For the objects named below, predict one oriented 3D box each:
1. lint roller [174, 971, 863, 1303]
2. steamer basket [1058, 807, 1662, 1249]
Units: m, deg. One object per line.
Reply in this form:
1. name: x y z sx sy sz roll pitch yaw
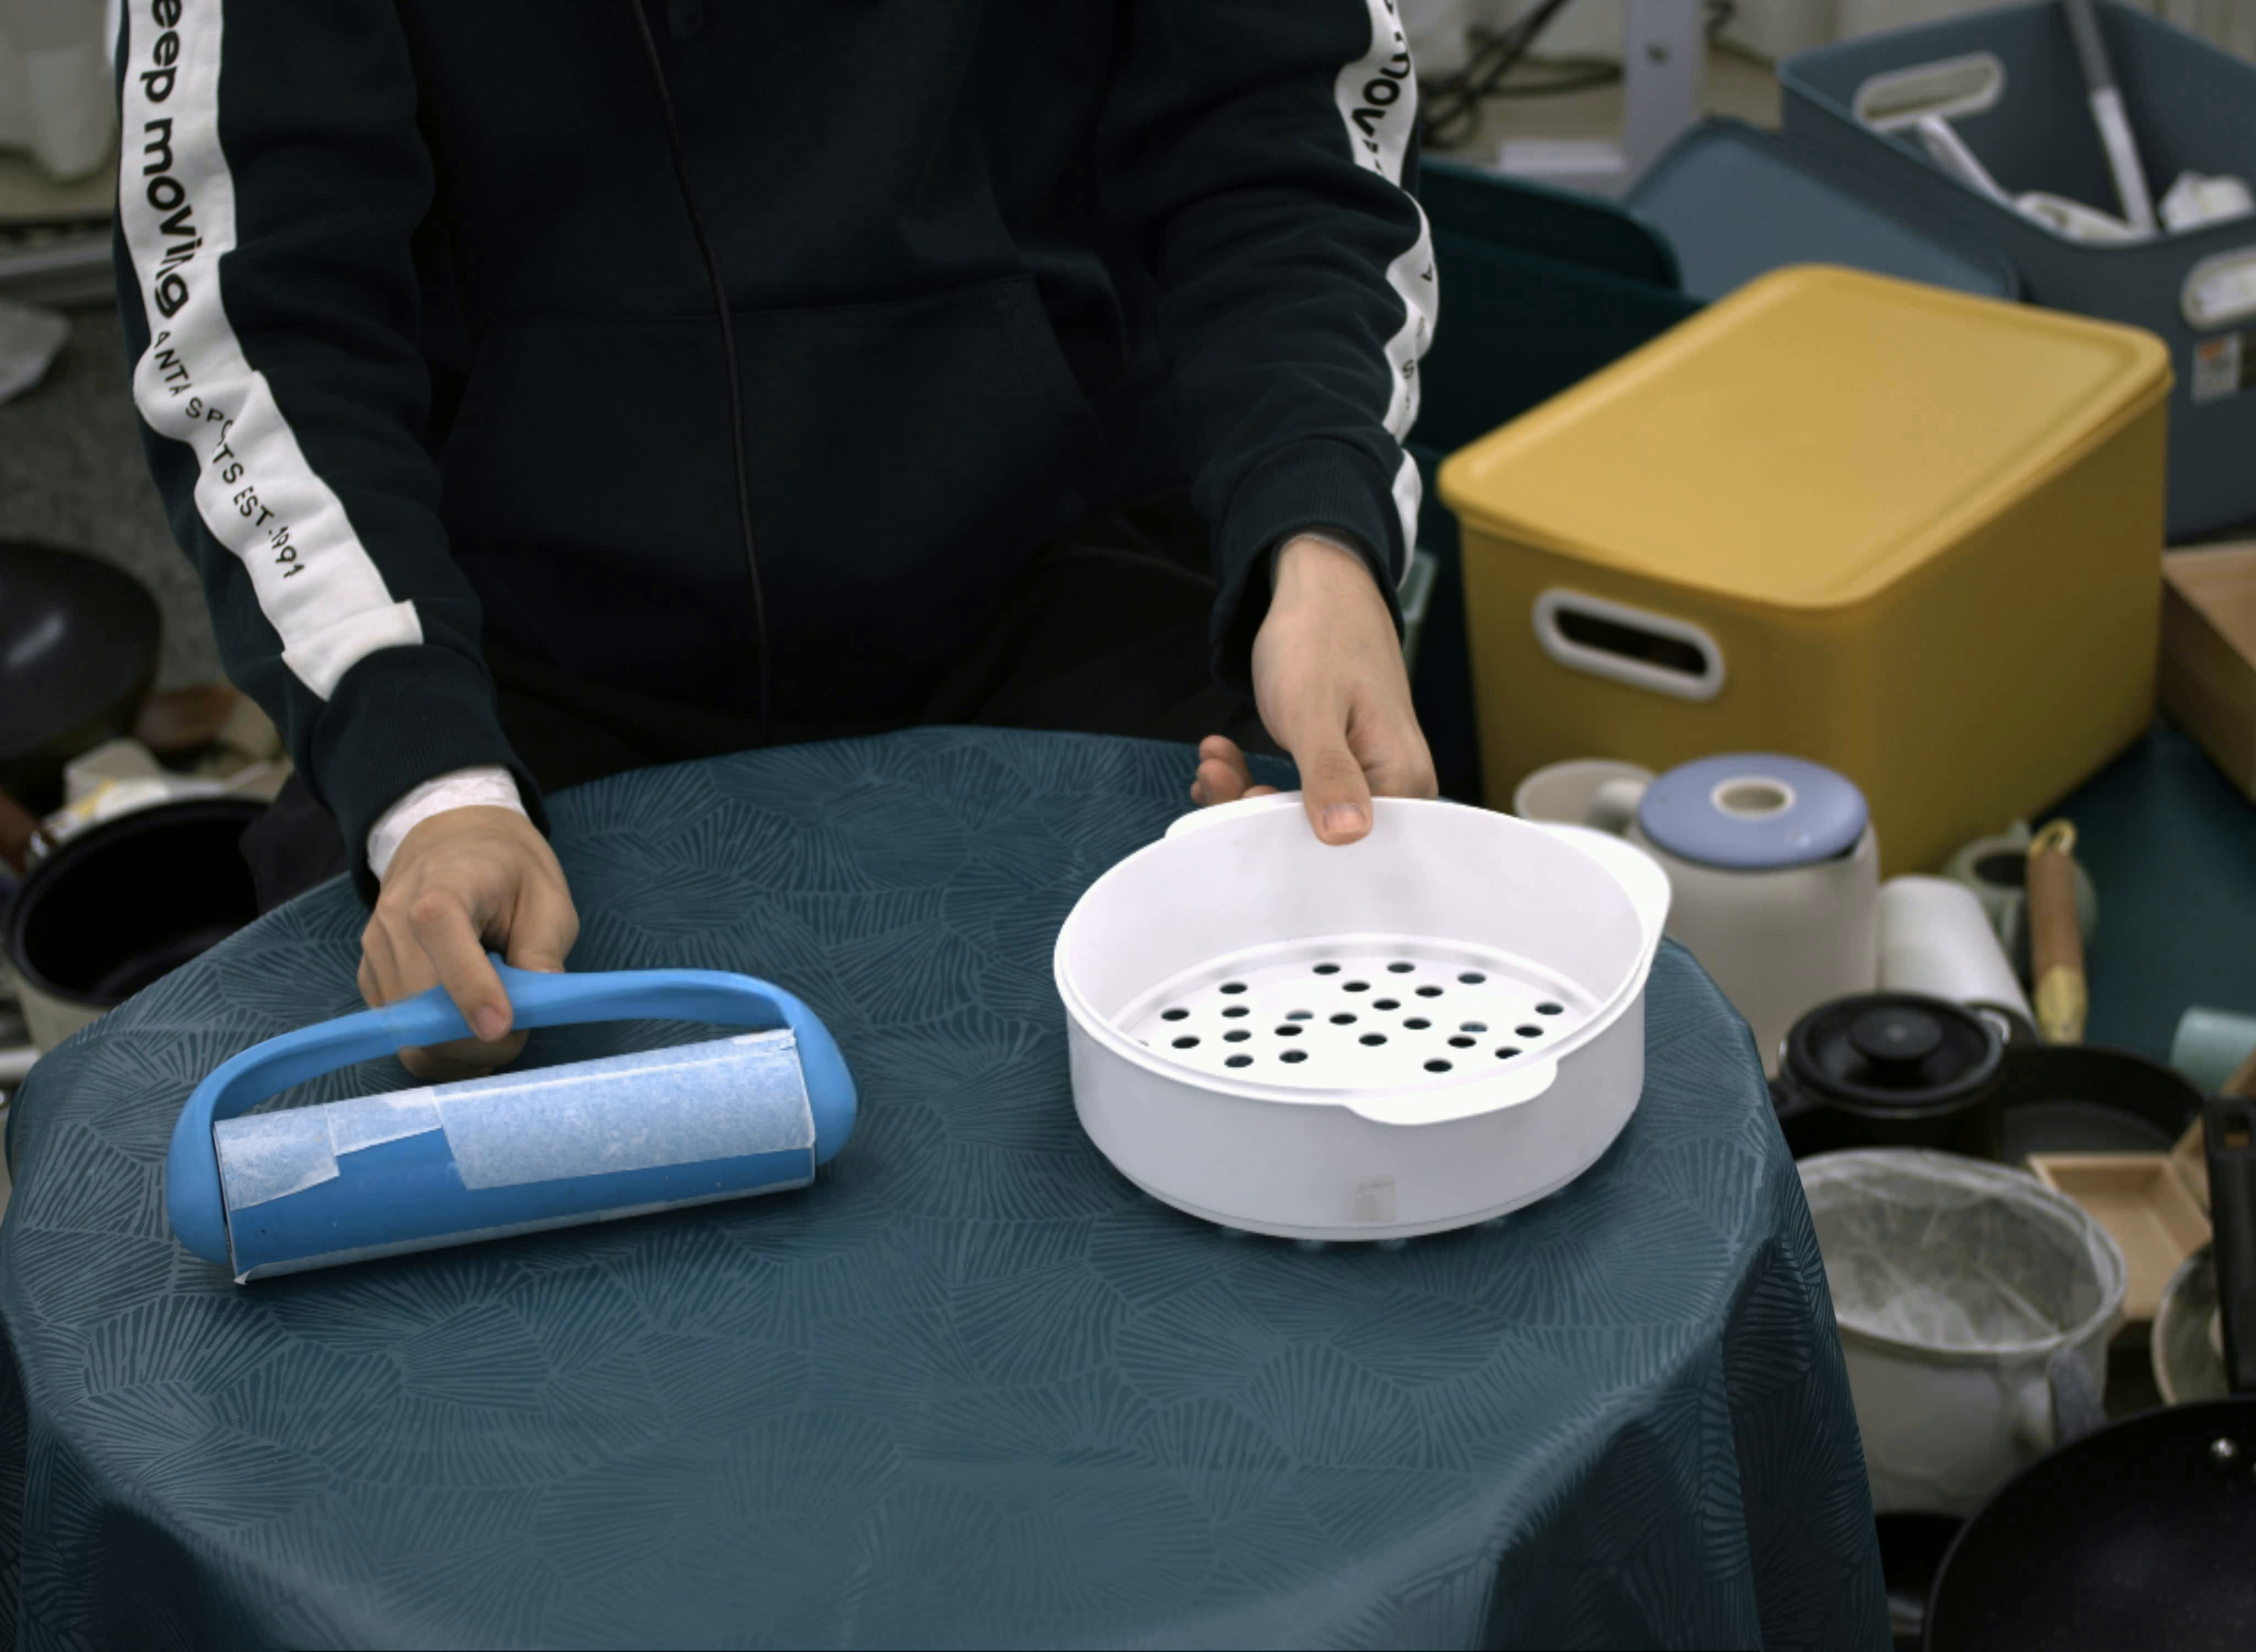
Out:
1. lint roller: -0.217 0.084 1.894 0.229 0.067 0.182 -13 30 -14
2. steamer basket: 0.078 0.068 1.882 0.202 0.068 0.232 -10 27 -15
